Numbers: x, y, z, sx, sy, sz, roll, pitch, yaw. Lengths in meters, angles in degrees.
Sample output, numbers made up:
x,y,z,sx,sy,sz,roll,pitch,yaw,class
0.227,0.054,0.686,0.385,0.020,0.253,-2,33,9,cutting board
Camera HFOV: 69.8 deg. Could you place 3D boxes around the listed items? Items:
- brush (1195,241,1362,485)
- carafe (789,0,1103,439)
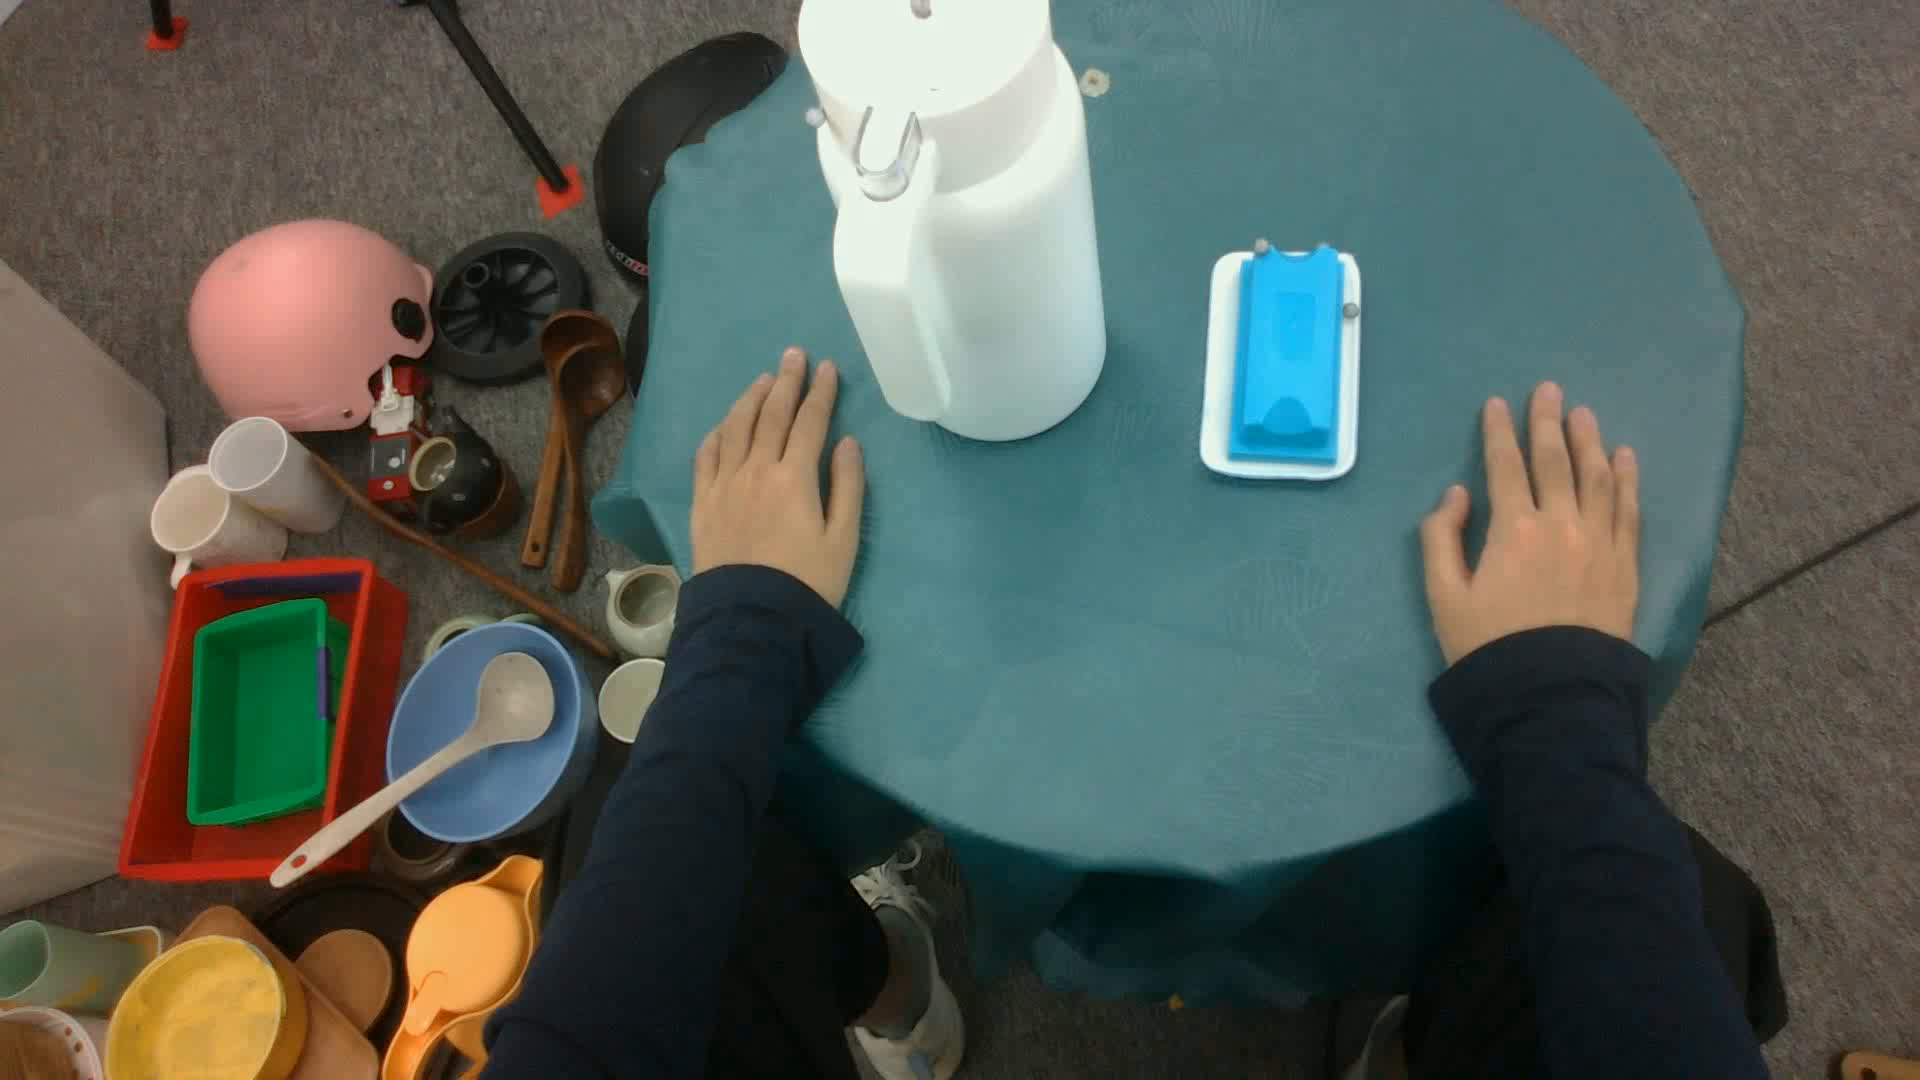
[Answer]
x,y,z,sx,sy,sz,roll,pitch,yaw,class
0.171,-0.101,0.733,0.084,0.056,0.144,4,65,14,brush
0.001,-0.140,0.665,0.124,0.268,0.173,9,70,11,carafe
